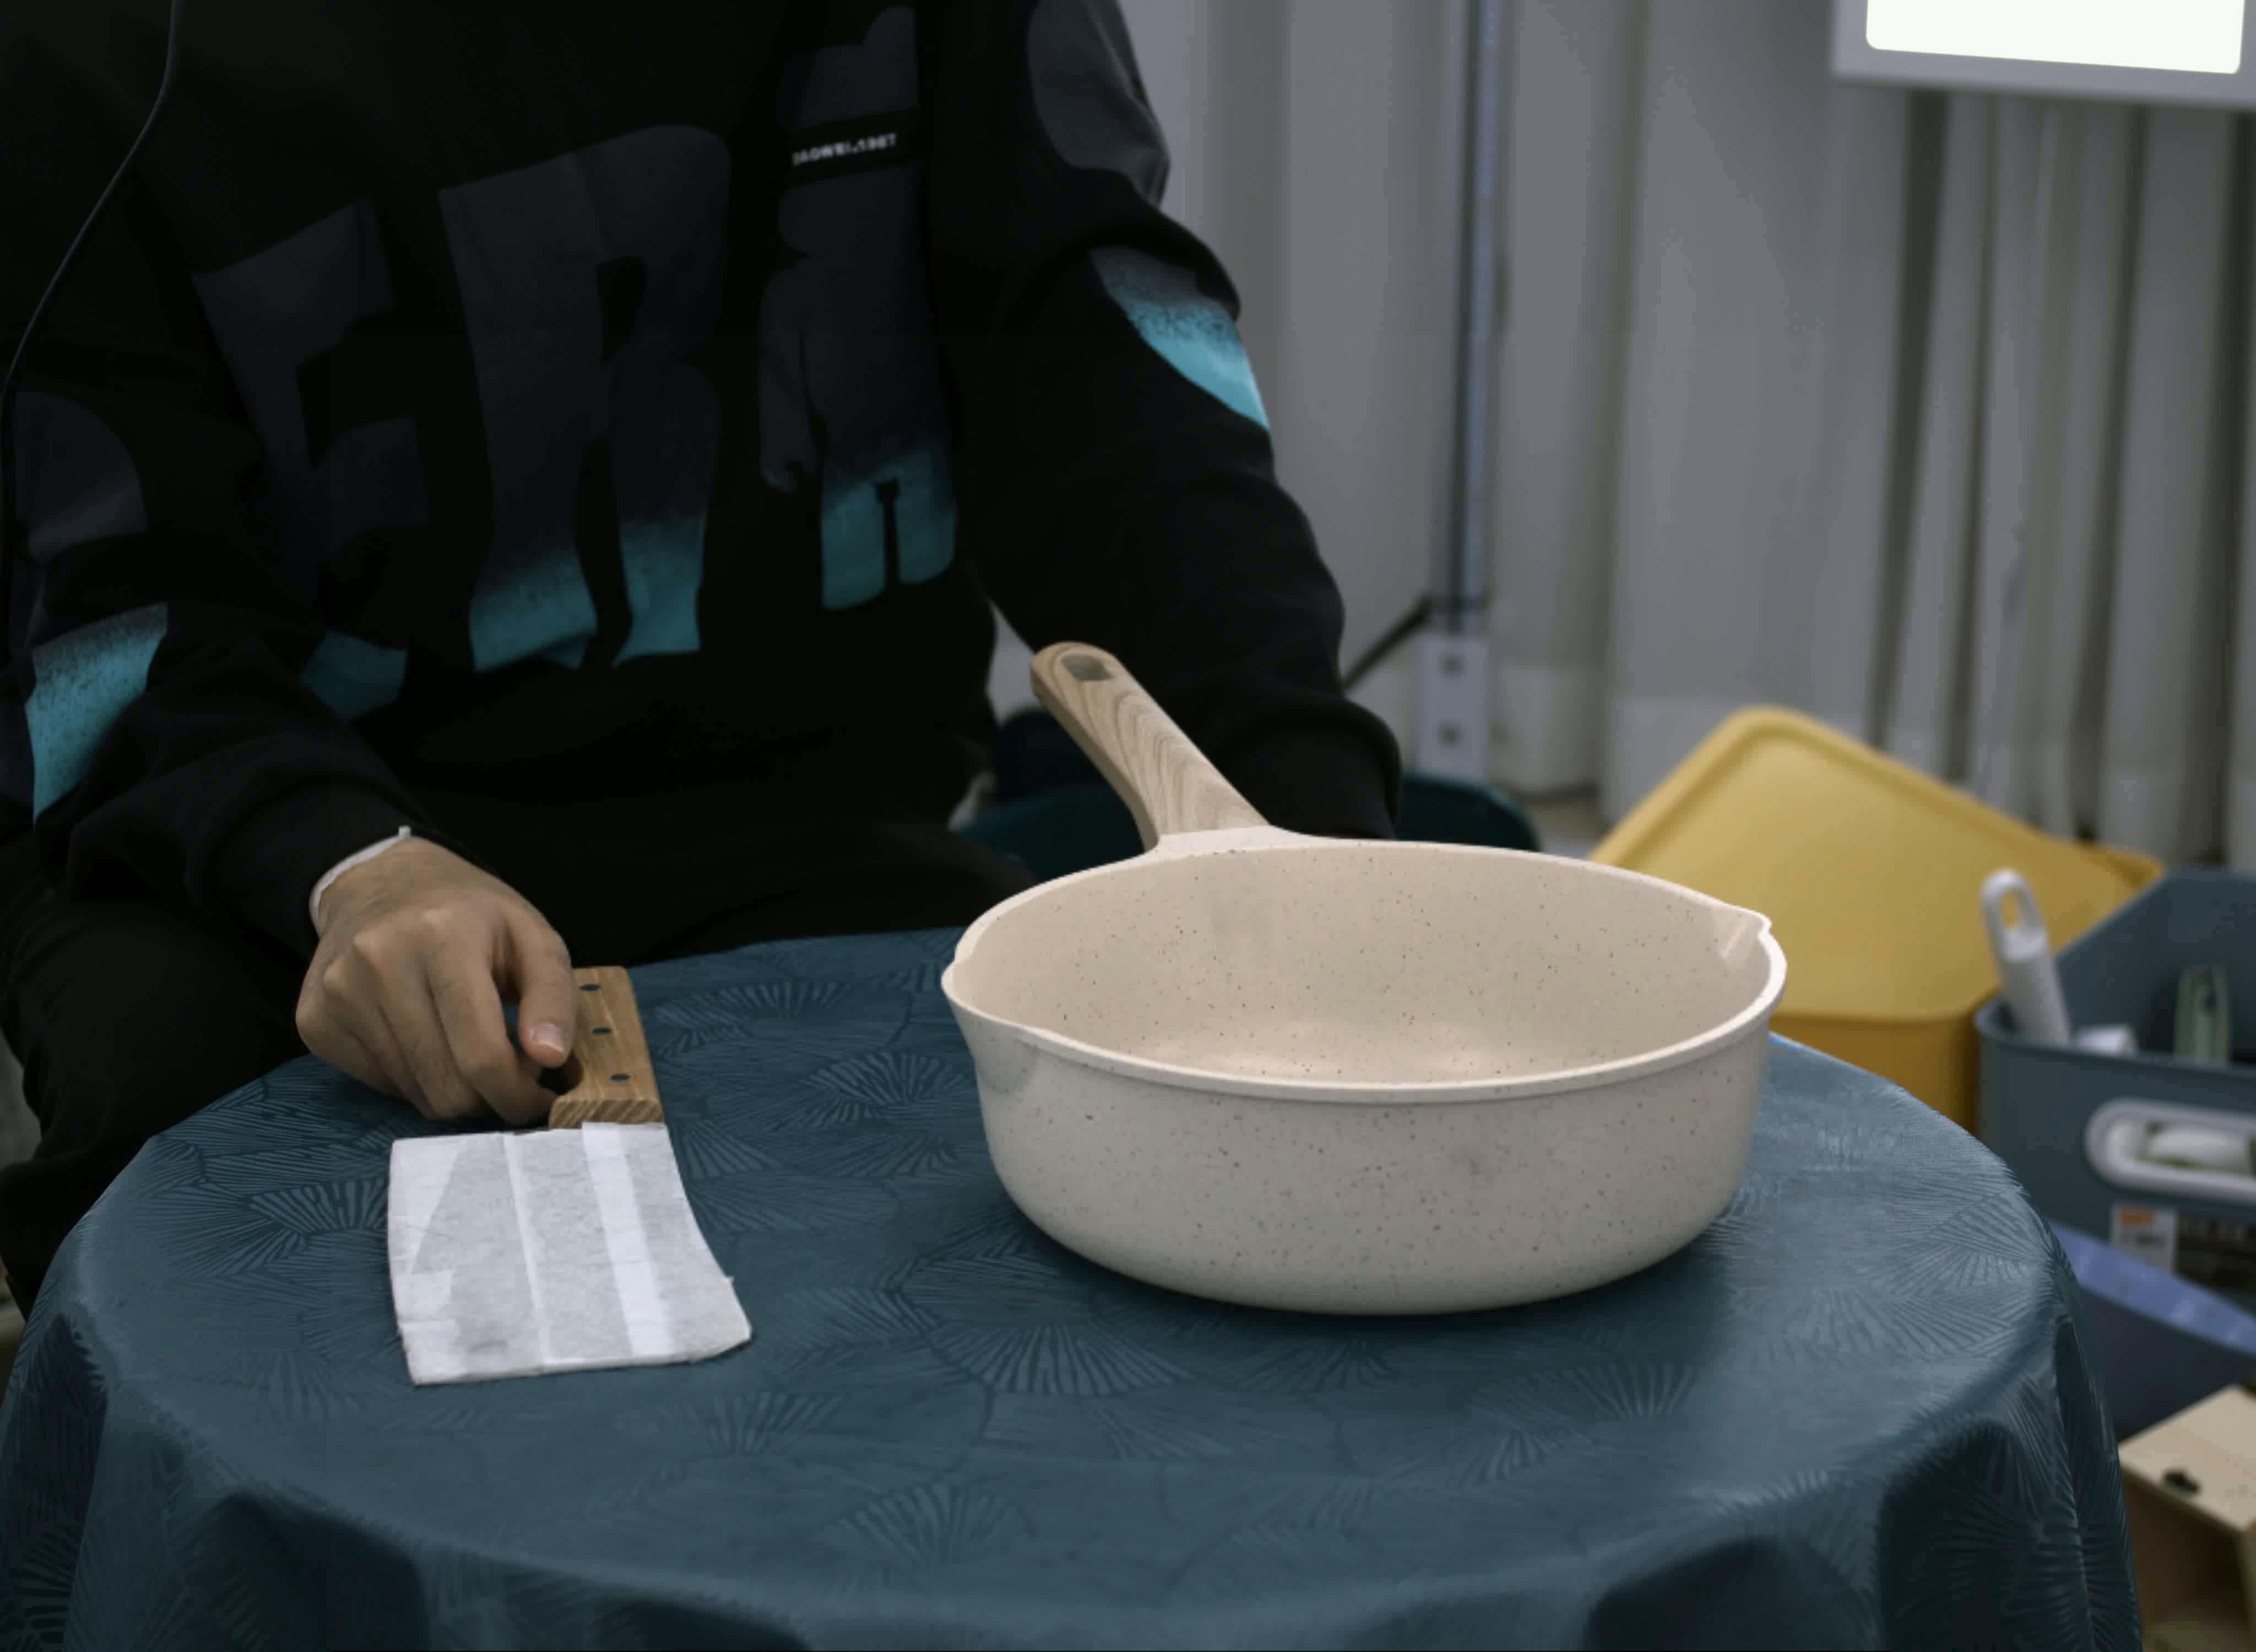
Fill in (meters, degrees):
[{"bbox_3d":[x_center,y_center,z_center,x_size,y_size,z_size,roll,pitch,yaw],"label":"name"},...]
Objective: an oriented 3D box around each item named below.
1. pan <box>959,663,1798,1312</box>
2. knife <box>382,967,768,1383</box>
[{"bbox_3d":[0.047,0.046,1.679,0.264,0.103,0.430,-7,17,-18],"label":"pan"},{"bbox_3d":[-0.172,0.105,1.612,0.114,0.022,0.313,-2,18,-6],"label":"knife"}]
